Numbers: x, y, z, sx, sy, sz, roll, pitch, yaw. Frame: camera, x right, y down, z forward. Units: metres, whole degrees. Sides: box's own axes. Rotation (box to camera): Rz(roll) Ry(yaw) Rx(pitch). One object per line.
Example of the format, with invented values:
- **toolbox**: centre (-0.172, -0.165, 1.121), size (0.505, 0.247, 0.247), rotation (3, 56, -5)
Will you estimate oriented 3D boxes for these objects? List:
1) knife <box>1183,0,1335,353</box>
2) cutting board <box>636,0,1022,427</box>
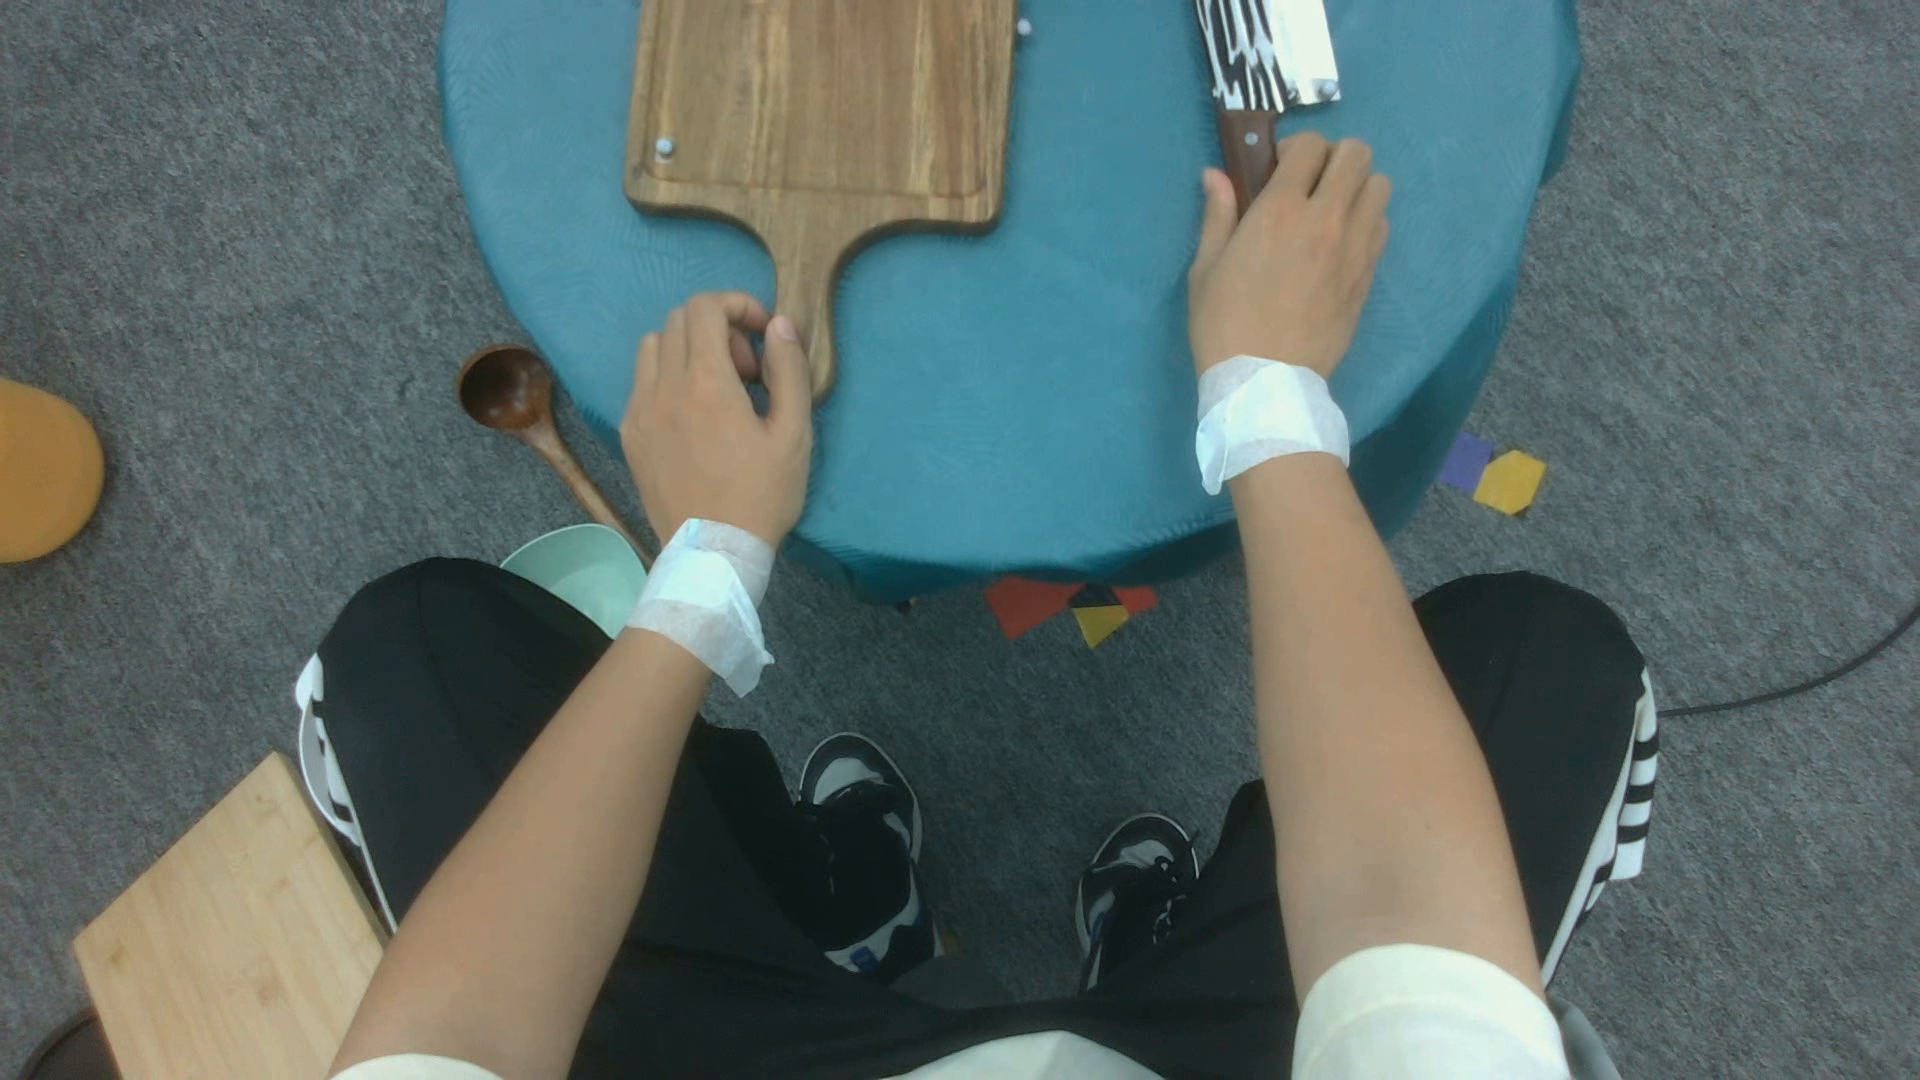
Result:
- **knife**: centre (0.162, -0.245, 0.735), size (0.068, 0.024, 0.300), rotation (-9, 78, -2)
- **cutting board**: centre (-0.070, -0.234, 0.743), size (0.201, 0.023, 0.352), rotation (4, 81, 3)
